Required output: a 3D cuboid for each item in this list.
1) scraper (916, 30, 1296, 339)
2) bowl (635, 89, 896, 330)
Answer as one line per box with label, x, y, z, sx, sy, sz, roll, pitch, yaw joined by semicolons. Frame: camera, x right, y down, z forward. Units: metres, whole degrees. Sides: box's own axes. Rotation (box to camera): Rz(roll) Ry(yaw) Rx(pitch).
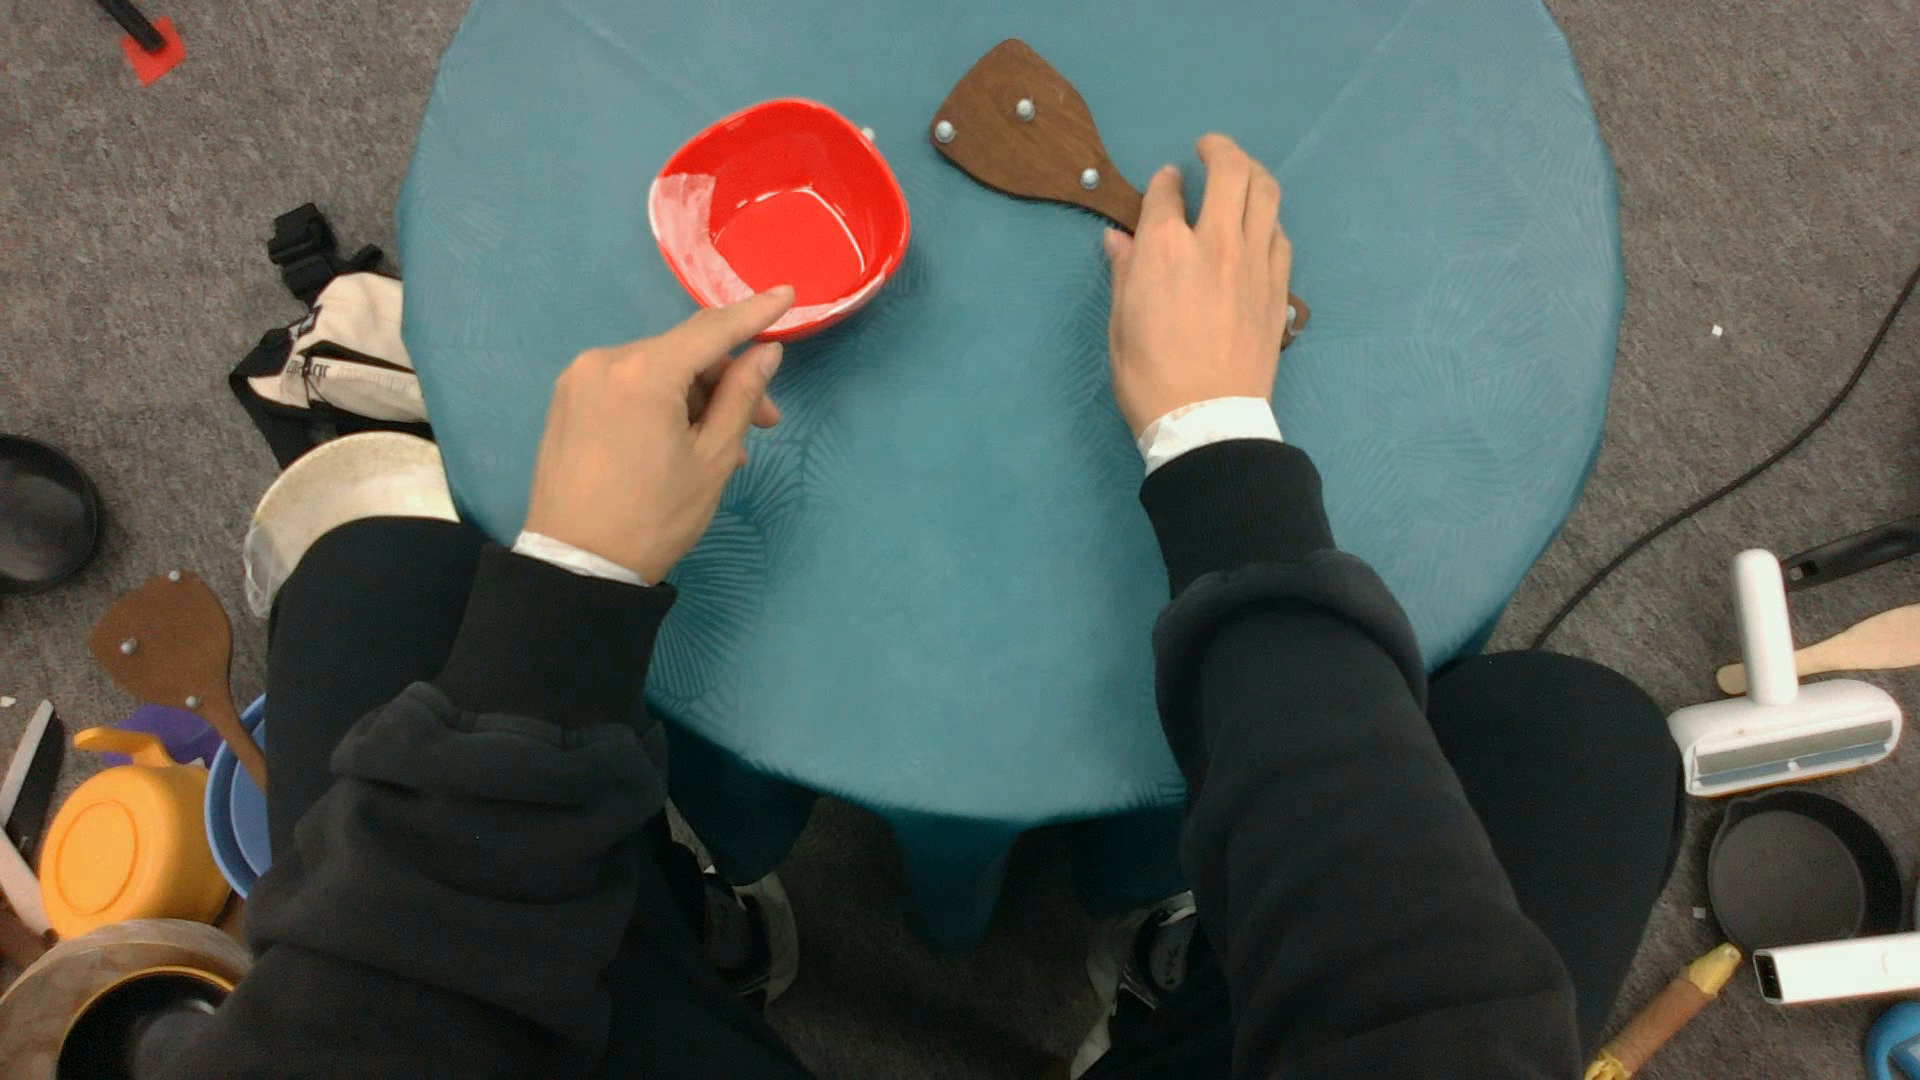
scraper;0.076;-0.170;0.679;0.211;0.011;0.076;39;79;8
bowl;-0.089;-0.147;0.648;0.119;0.051;0.119;1;73;-2
